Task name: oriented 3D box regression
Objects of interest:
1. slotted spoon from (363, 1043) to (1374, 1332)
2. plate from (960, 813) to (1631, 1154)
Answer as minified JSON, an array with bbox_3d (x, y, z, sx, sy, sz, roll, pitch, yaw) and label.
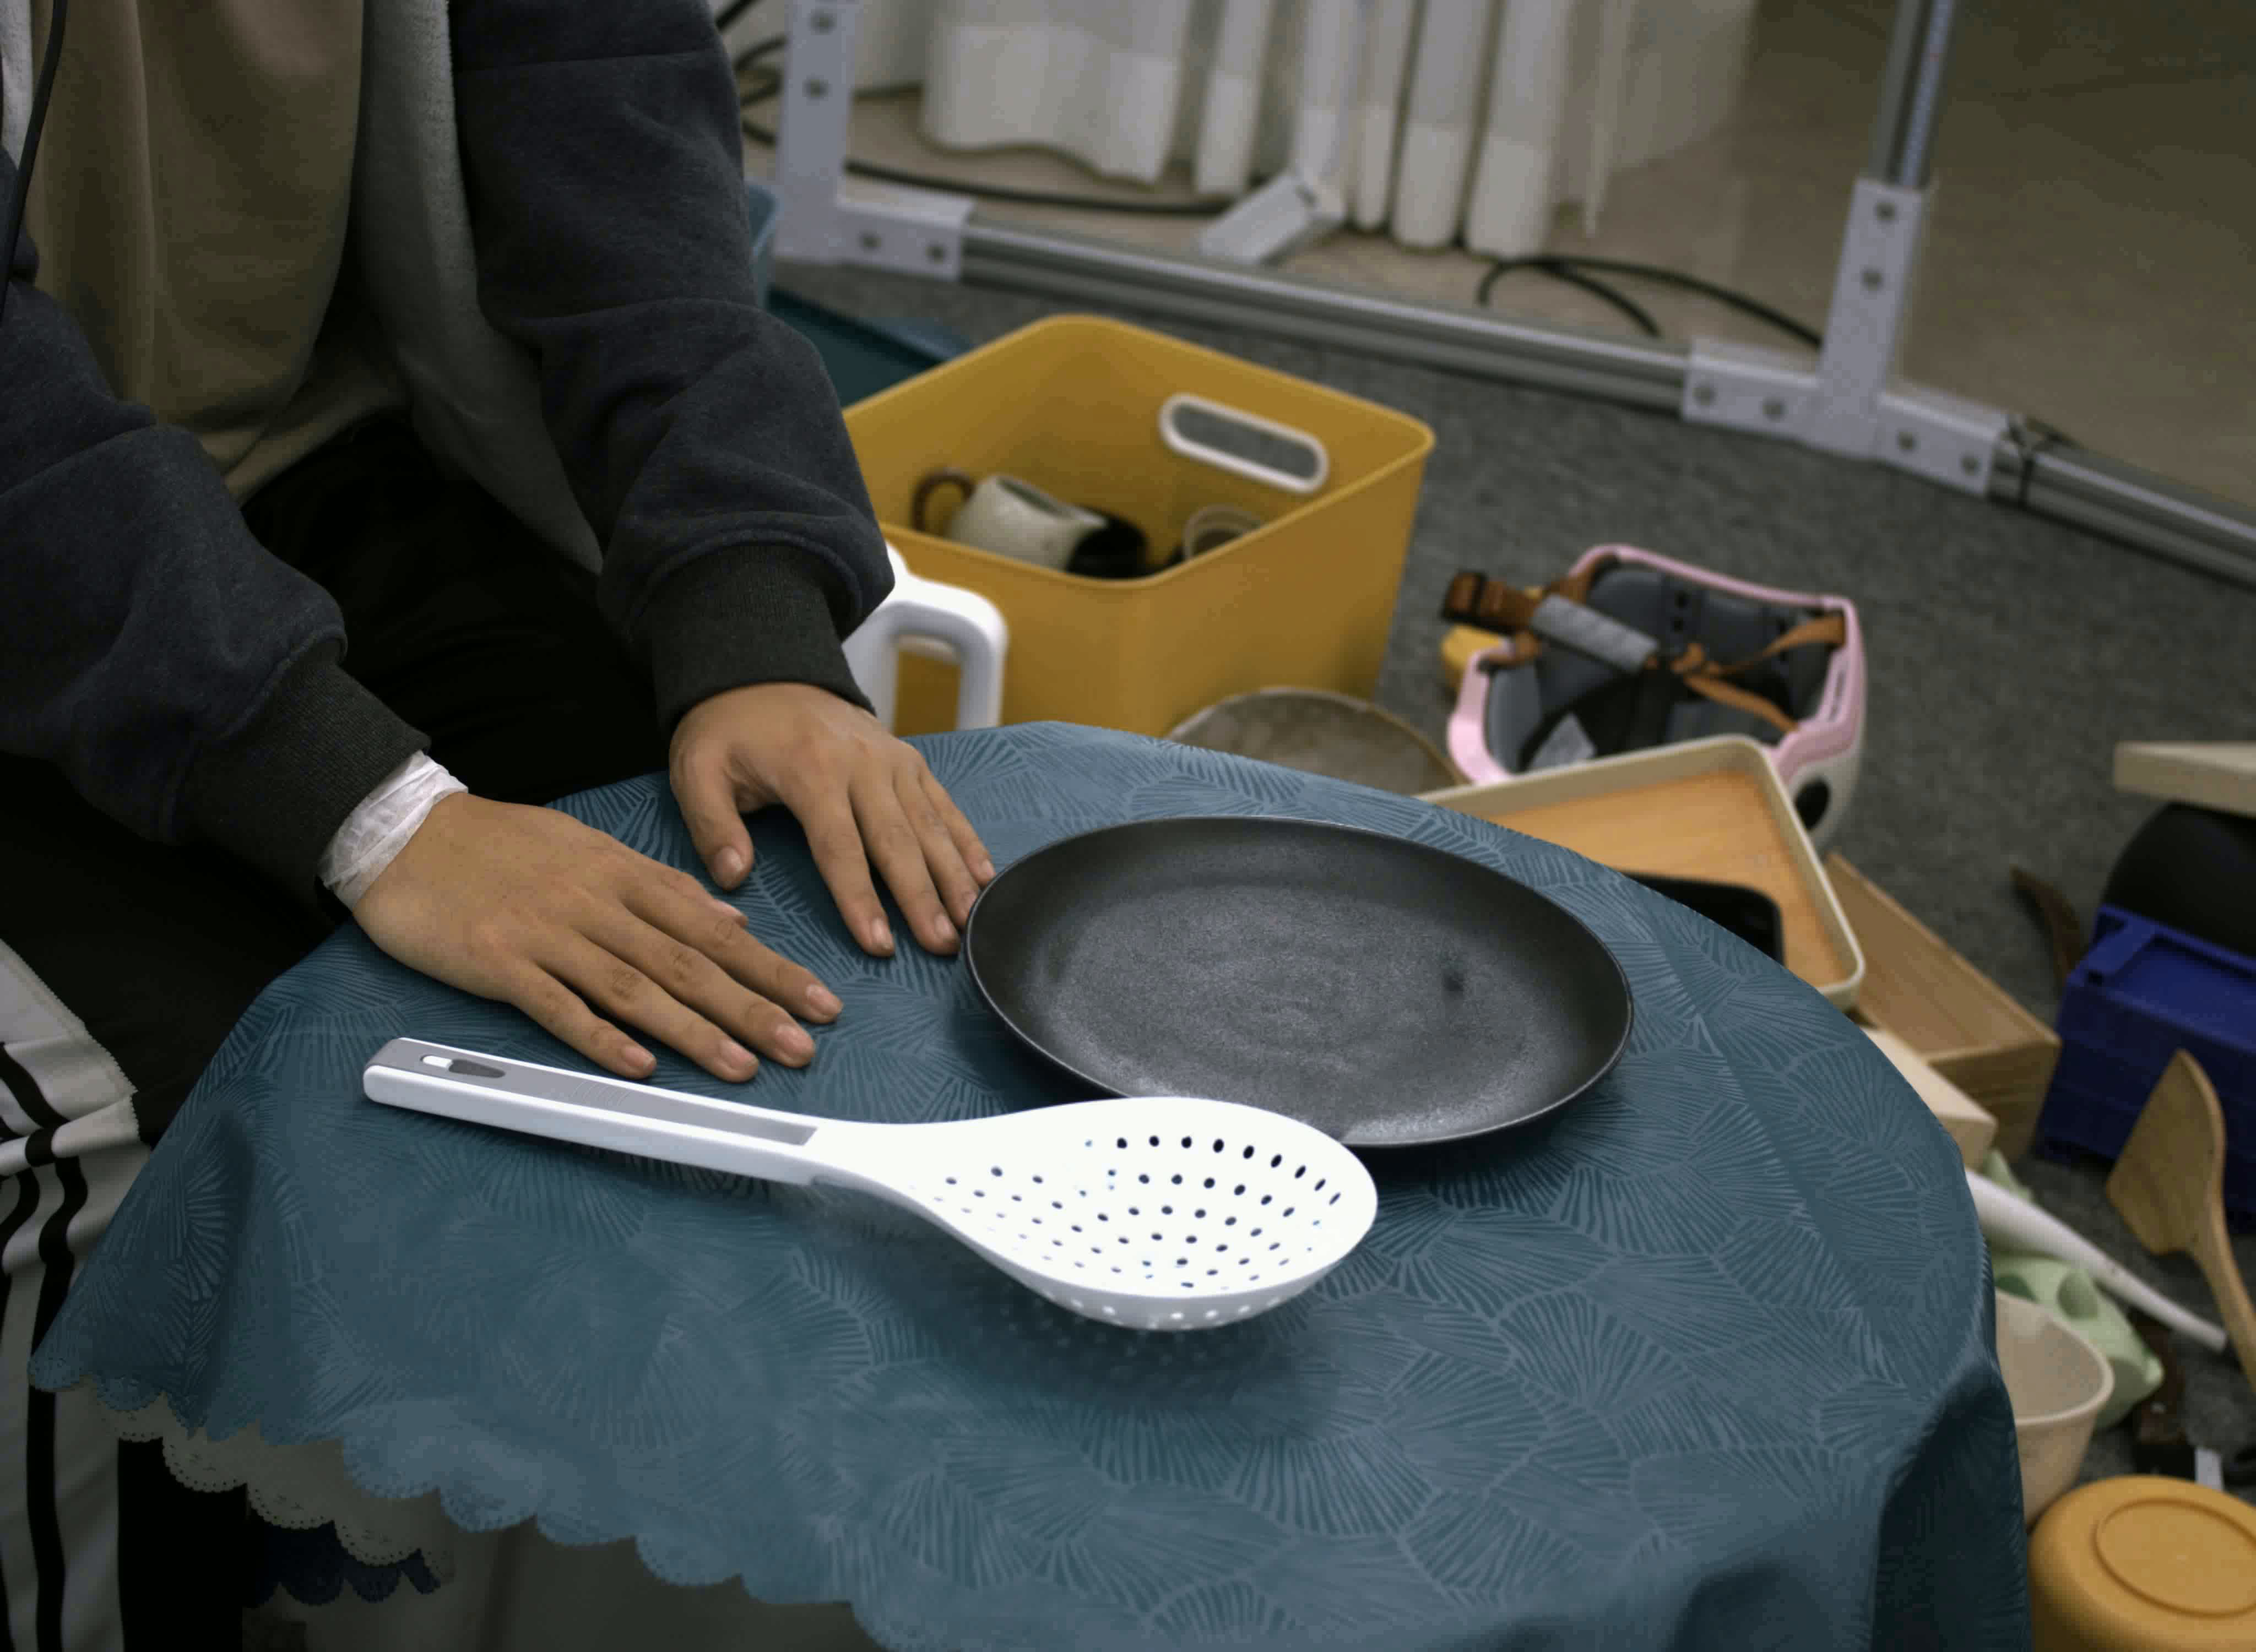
[{"bbox_3d":[-0.090,0.110,1.757,0.350,0.045,0.136,13,25,15],"label":"slotted spoon"},{"bbox_3d":[0.059,0.061,1.913,0.243,0.023,0.246,5,27,-3],"label":"plate"}]
